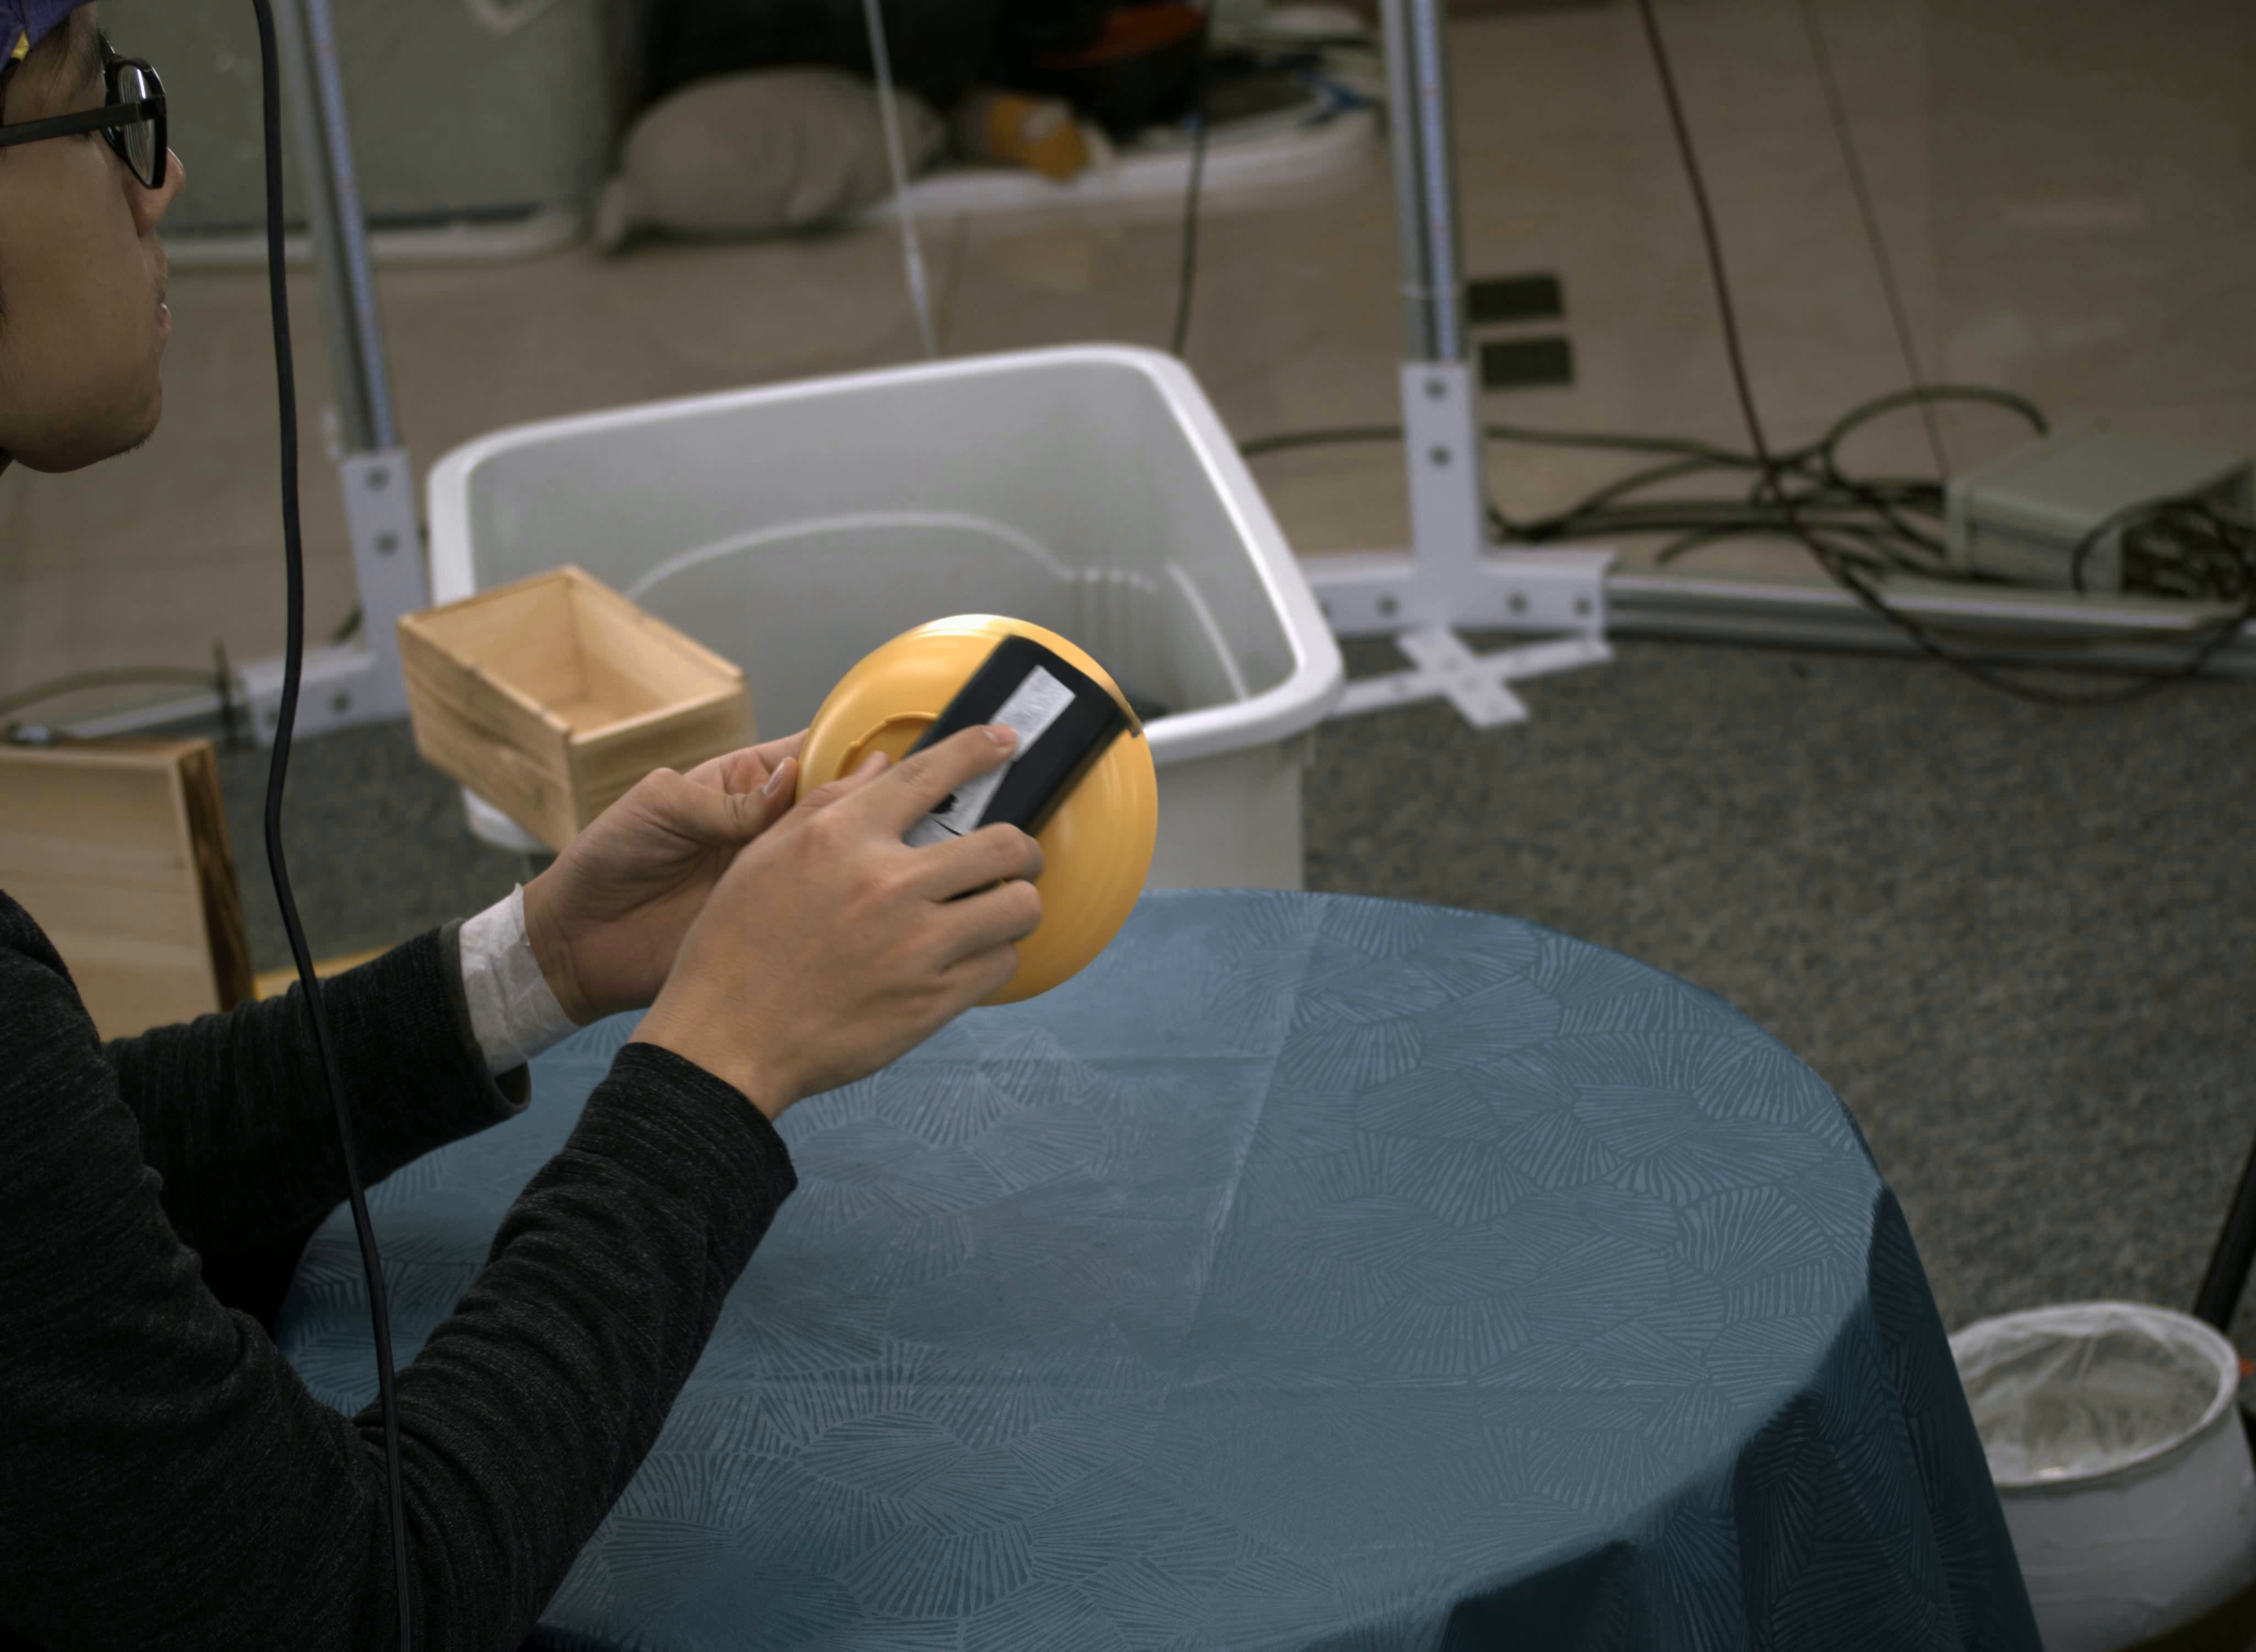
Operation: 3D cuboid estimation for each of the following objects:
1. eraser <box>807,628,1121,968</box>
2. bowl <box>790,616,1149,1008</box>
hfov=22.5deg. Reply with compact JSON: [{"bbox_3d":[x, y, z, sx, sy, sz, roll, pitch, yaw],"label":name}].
[{"bbox_3d":[-0.058,-0.011,1.995,0.053,0.031,0.124,32,63,10],"label":"eraser"},{"bbox_3d":[-0.069,-0.008,2.057,0.145,0.145,0.060,7,1,26],"label":"bowl"}]
